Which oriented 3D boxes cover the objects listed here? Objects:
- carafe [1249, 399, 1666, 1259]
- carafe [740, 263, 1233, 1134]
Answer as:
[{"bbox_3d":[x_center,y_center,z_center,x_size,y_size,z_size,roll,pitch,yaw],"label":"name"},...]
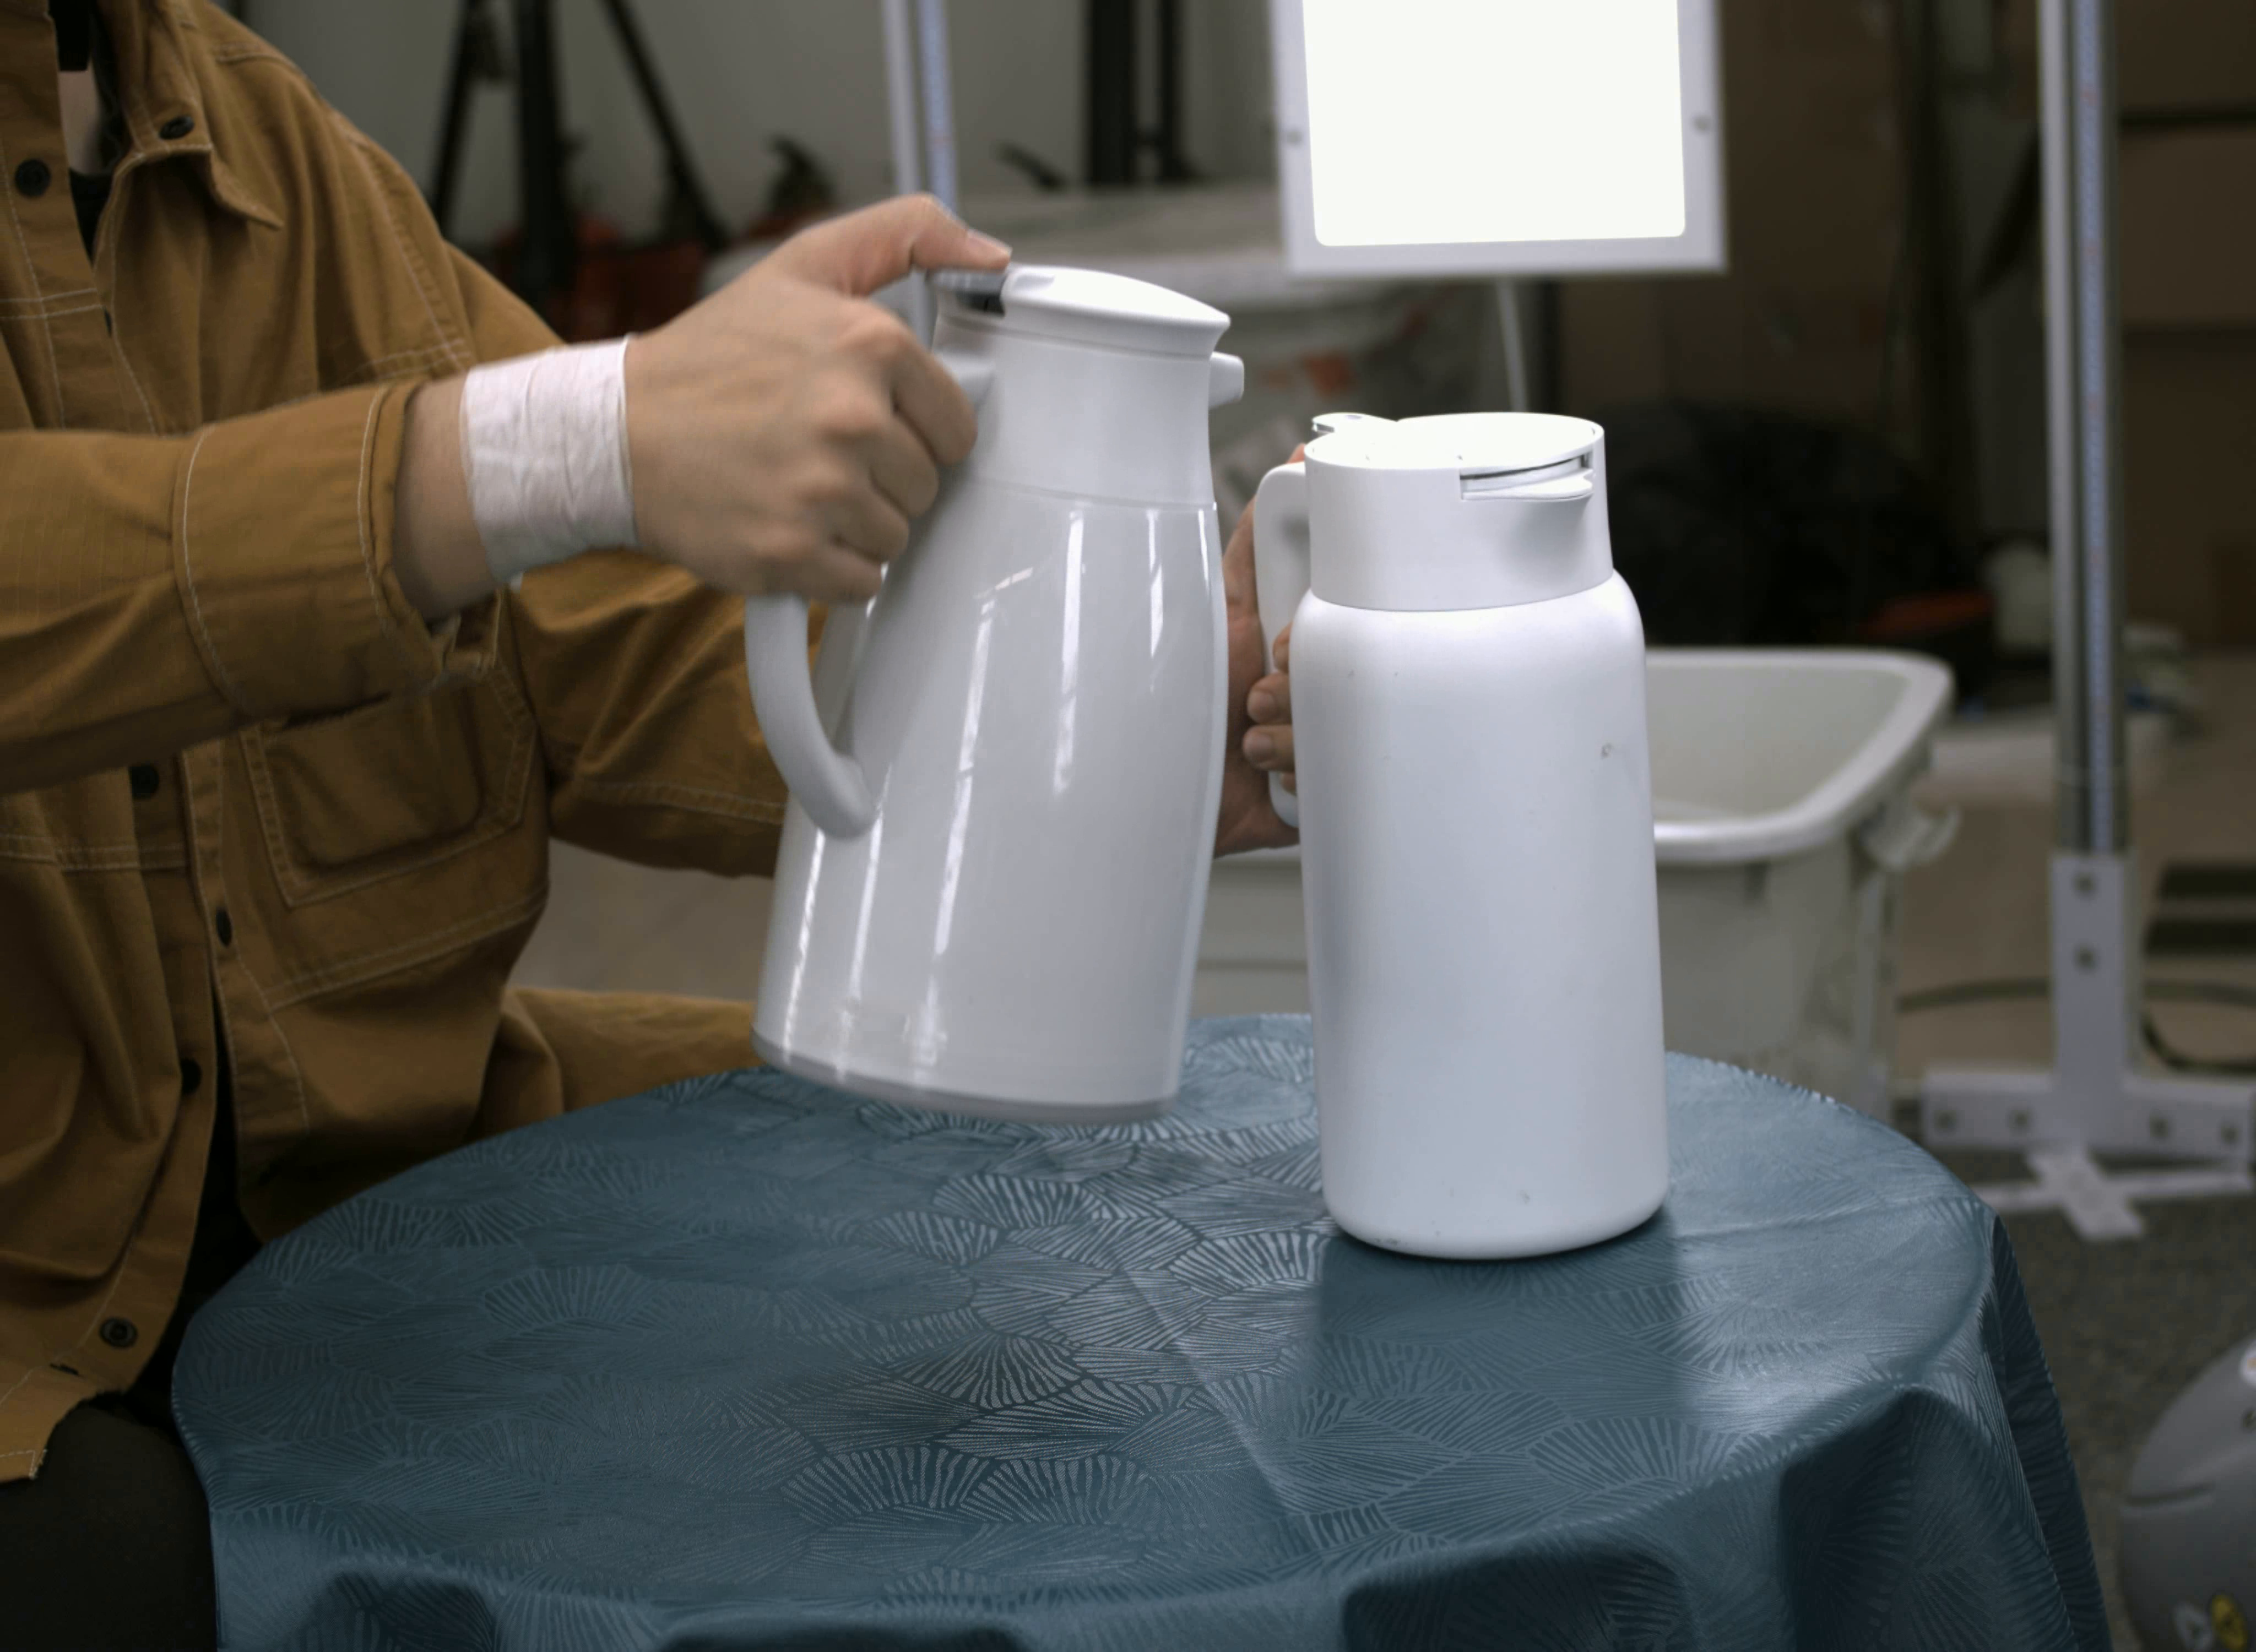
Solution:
[{"bbox_3d":[0.103,-0.002,1.822,0.121,0.270,0.176,-15,17,-29],"label":"carafe"},{"bbox_3d":[-0.046,-0.042,1.647,0.163,0.250,0.135,-1,12,-40],"label":"carafe"}]
